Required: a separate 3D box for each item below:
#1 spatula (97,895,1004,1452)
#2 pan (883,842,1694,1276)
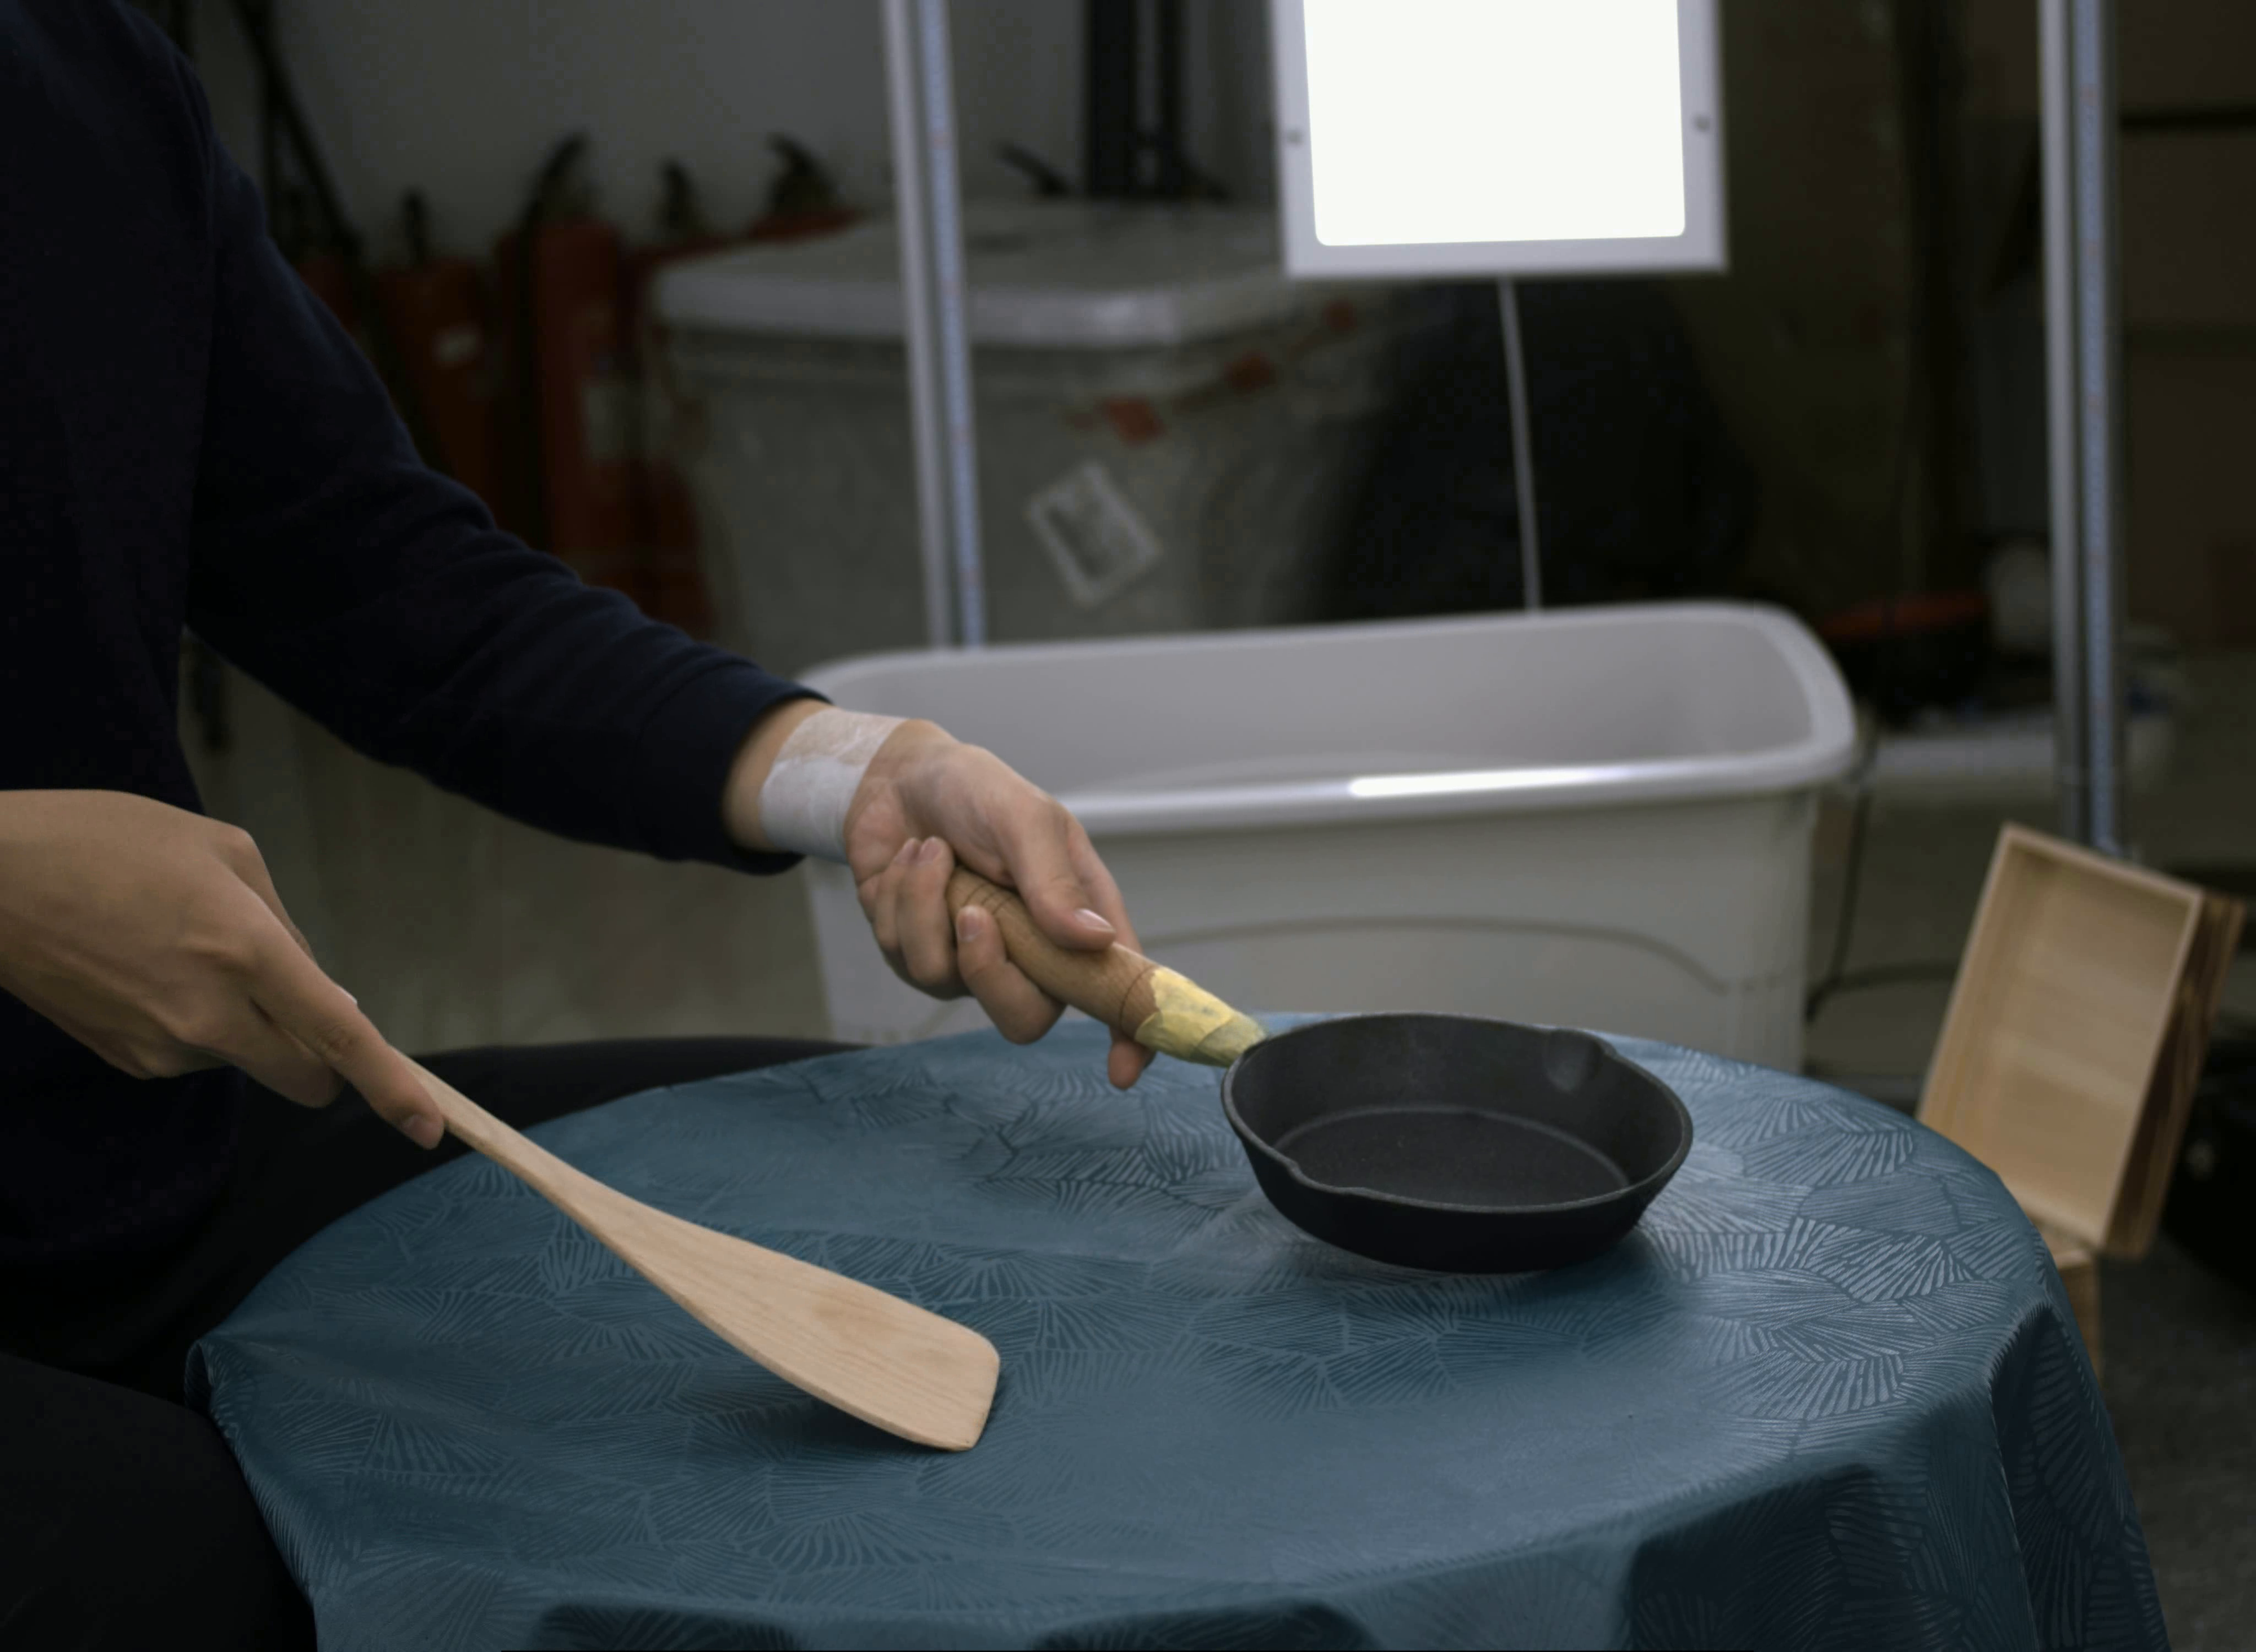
[{"bbox_3d":[-0.180,0.102,1.717,0.328,0.017,0.078,30,23,7],"label":"spatula"},{"bbox_3d":[0.043,0.075,1.870,0.330,0.050,0.164,21,28,35],"label":"pan"}]
